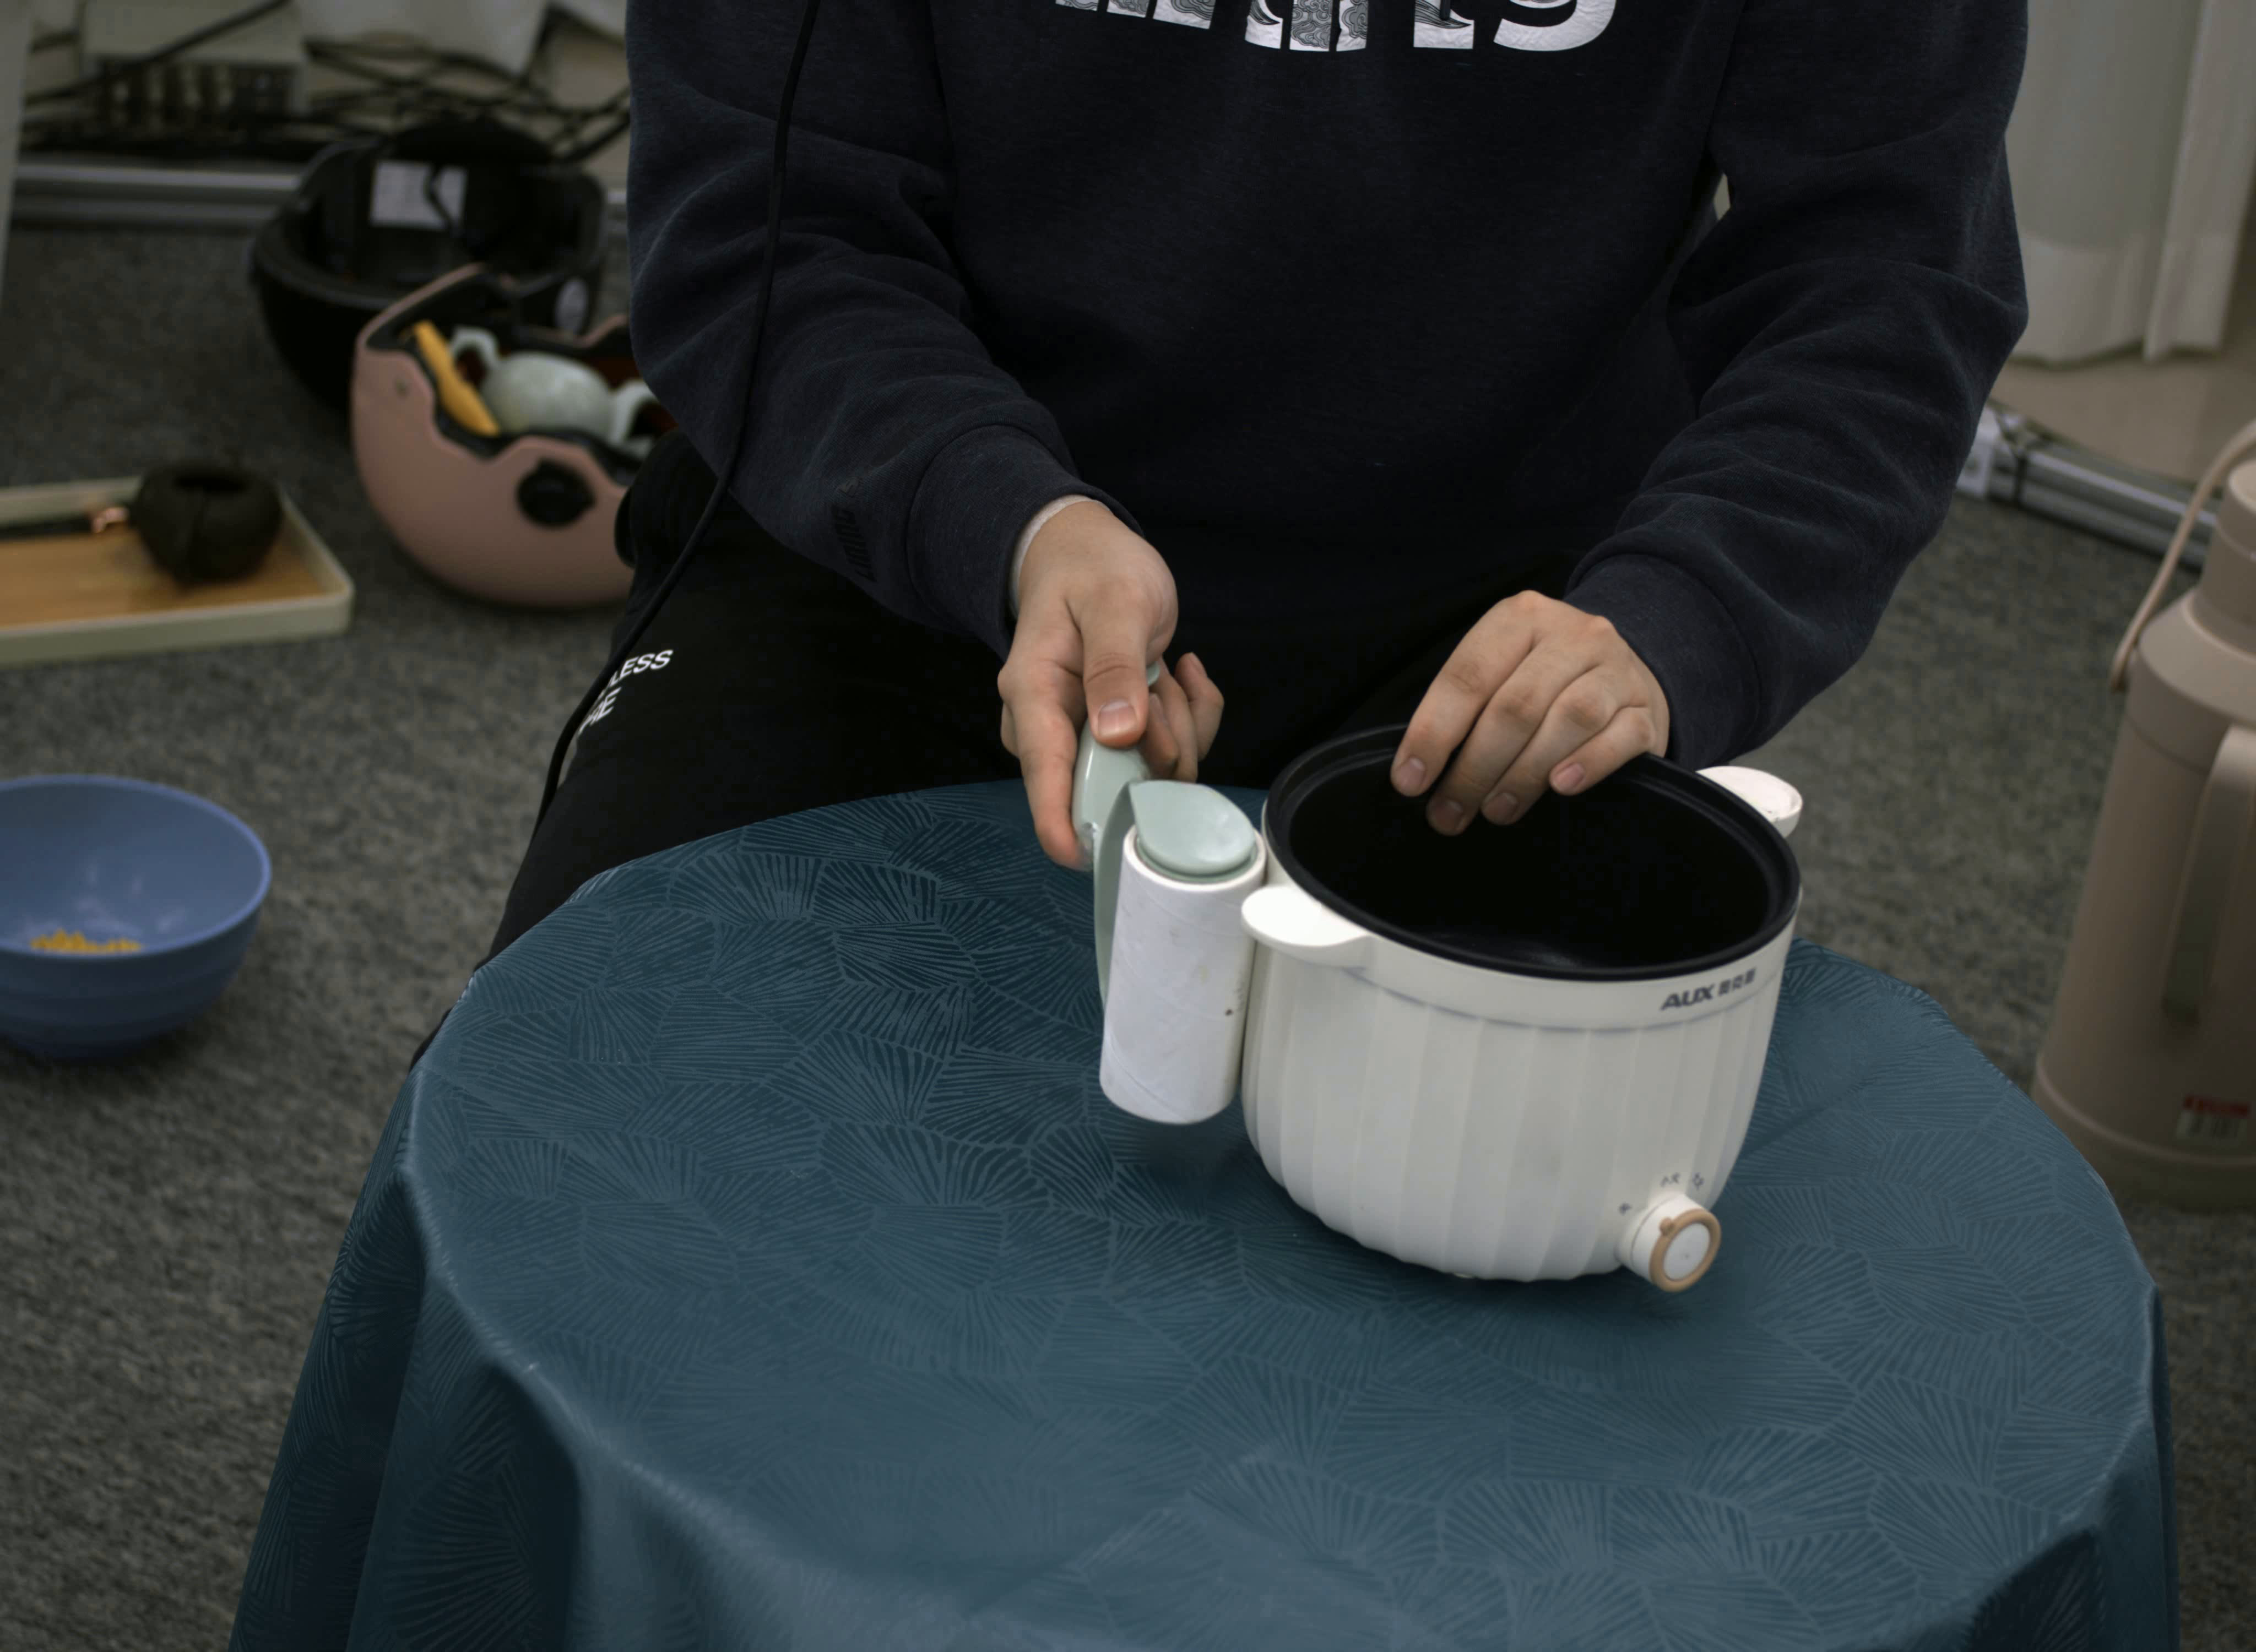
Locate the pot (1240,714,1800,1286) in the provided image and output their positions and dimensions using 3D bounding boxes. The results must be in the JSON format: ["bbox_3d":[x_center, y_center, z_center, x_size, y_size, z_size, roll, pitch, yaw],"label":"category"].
[{"bbox_3d":[0.132,0.065,1.801,0.239,0.142,0.192,-16,31,-36],"label":"pot"}]

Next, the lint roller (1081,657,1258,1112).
[{"bbox_3d":[0.008,-0.002,1.837,0.048,0.116,0.199,-4,36,-8],"label":"lint roller"}]
